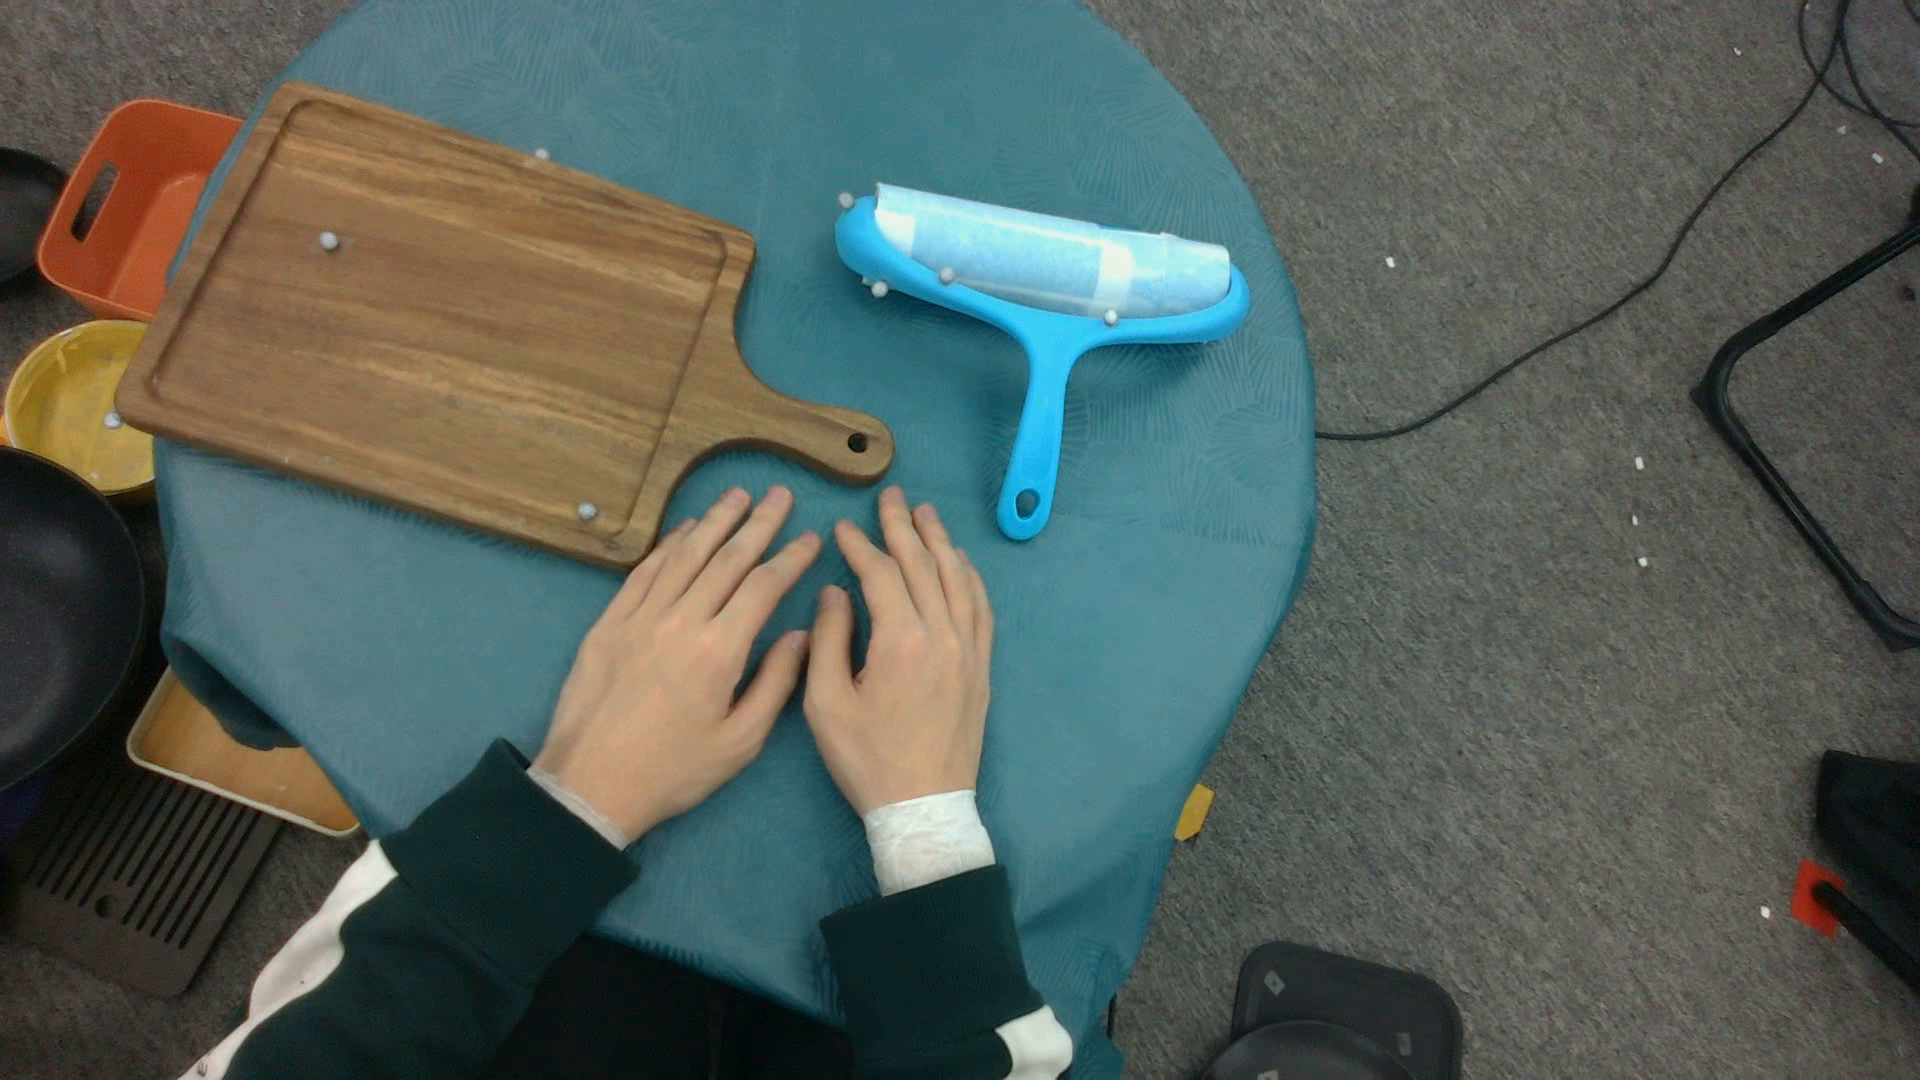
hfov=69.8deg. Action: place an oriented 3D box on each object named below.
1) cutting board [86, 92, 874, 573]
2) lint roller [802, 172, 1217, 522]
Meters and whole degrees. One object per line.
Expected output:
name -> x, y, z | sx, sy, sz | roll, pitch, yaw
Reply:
cutting board -> -0.215, -0.093, 0.685 | 0.352, 0.023, 0.201 | 15, 70, -8
lint roller -> 0.030, -0.103, 0.725 | 0.229, 0.067, 0.181 | 4, 69, -13
